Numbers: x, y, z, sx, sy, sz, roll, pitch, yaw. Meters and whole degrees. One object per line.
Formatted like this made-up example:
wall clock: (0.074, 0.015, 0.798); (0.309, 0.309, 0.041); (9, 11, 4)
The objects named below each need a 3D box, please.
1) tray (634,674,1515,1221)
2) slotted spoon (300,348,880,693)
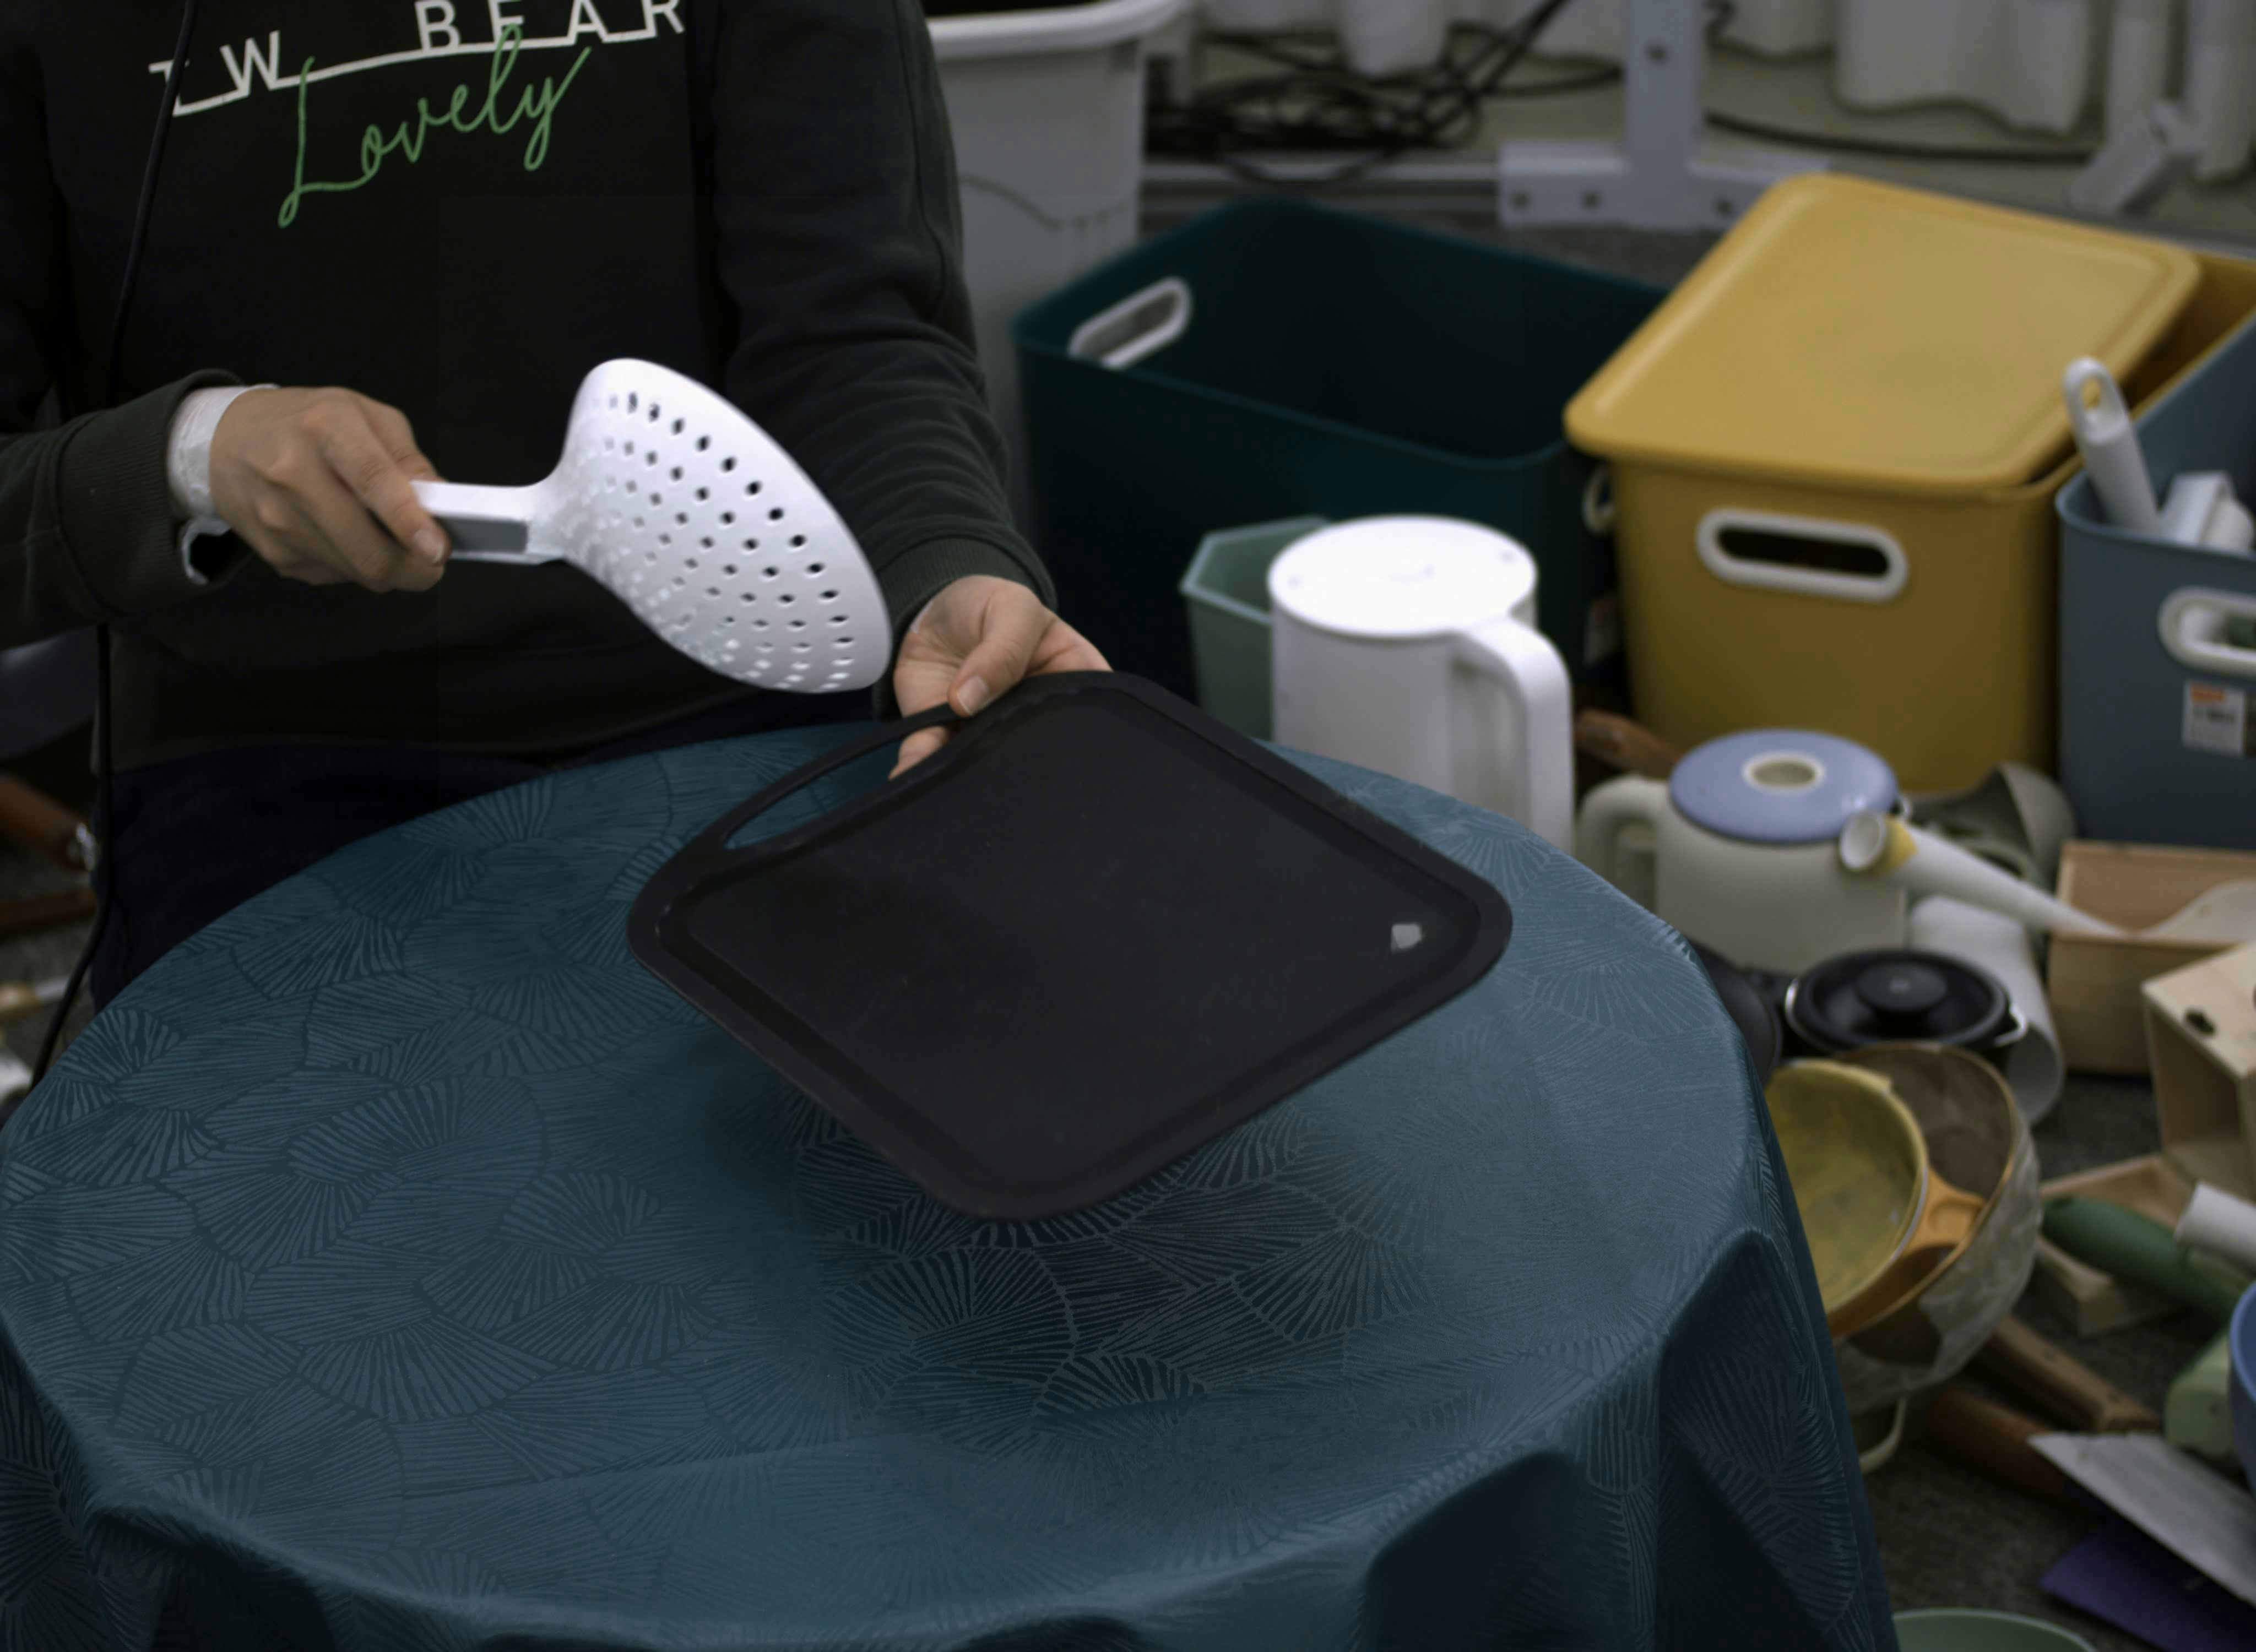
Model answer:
tray: (-0.028, 0.030, 1.843); (0.212, 0.010, 0.326); (-28, 31, -19)
slotted spoon: (-0.196, -0.101, 1.915); (0.046, 0.135, 0.348); (-40, 24, -21)
